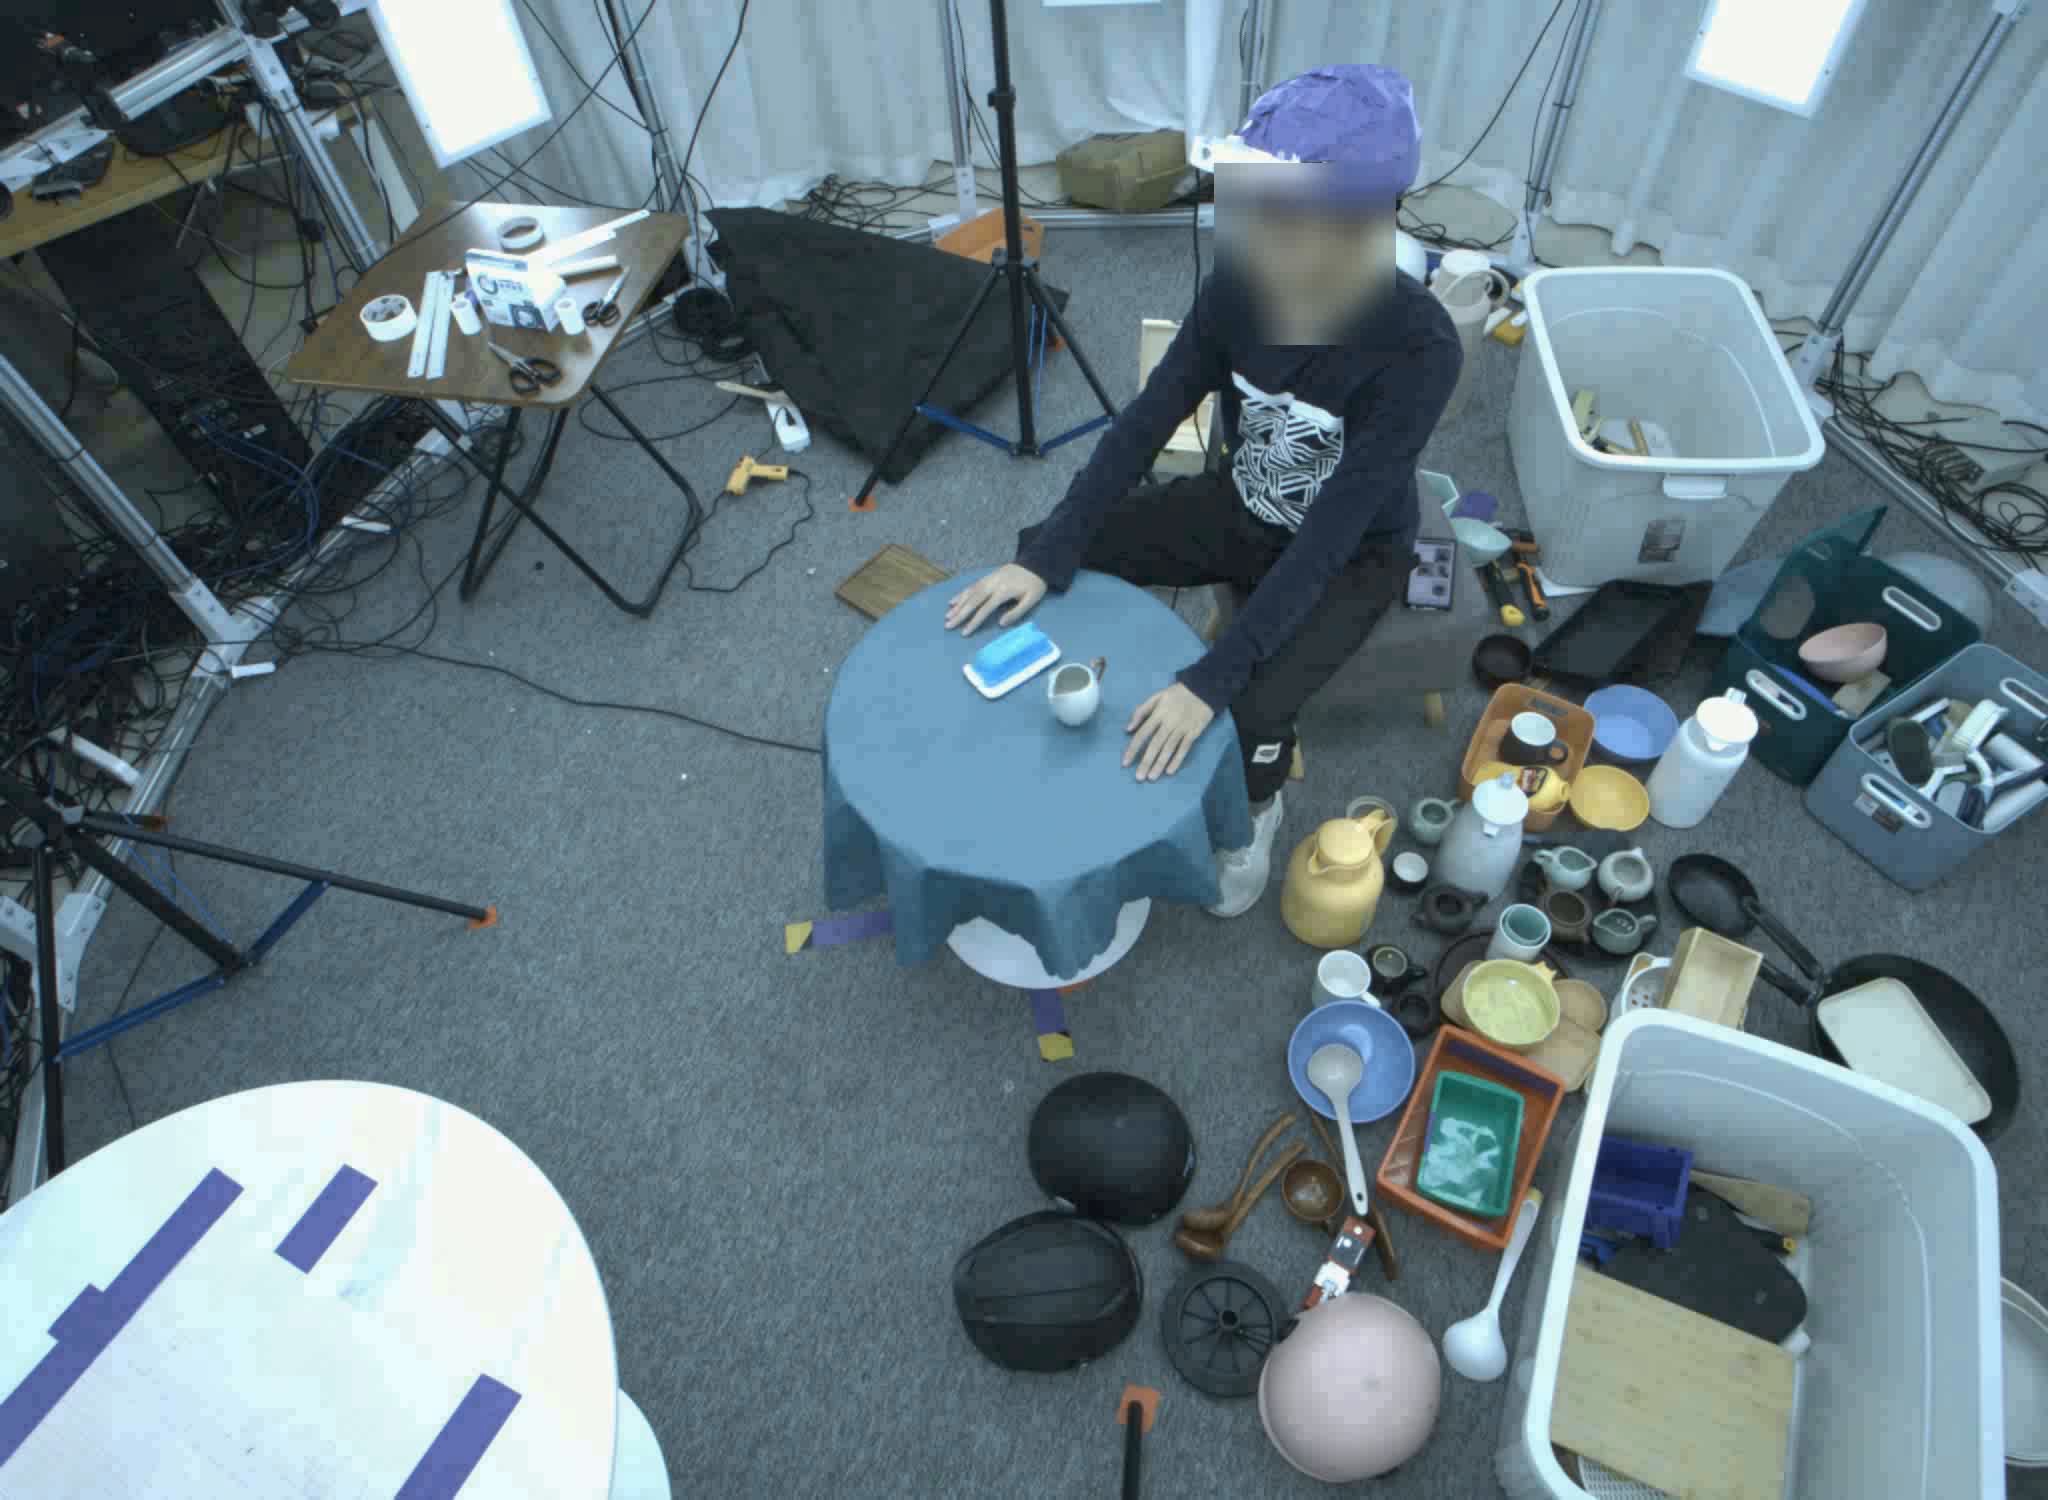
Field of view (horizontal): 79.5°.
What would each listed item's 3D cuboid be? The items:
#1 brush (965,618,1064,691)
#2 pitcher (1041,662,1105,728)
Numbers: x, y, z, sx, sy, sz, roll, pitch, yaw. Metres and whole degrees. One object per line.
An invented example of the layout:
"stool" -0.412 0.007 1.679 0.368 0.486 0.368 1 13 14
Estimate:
"brush" -0.015 -0.152 1.851 0.145 0.056 0.082 -31 61 -16
"pitcher" 0.072 -0.077 1.778 0.120 0.089 0.074 -38 66 -17
